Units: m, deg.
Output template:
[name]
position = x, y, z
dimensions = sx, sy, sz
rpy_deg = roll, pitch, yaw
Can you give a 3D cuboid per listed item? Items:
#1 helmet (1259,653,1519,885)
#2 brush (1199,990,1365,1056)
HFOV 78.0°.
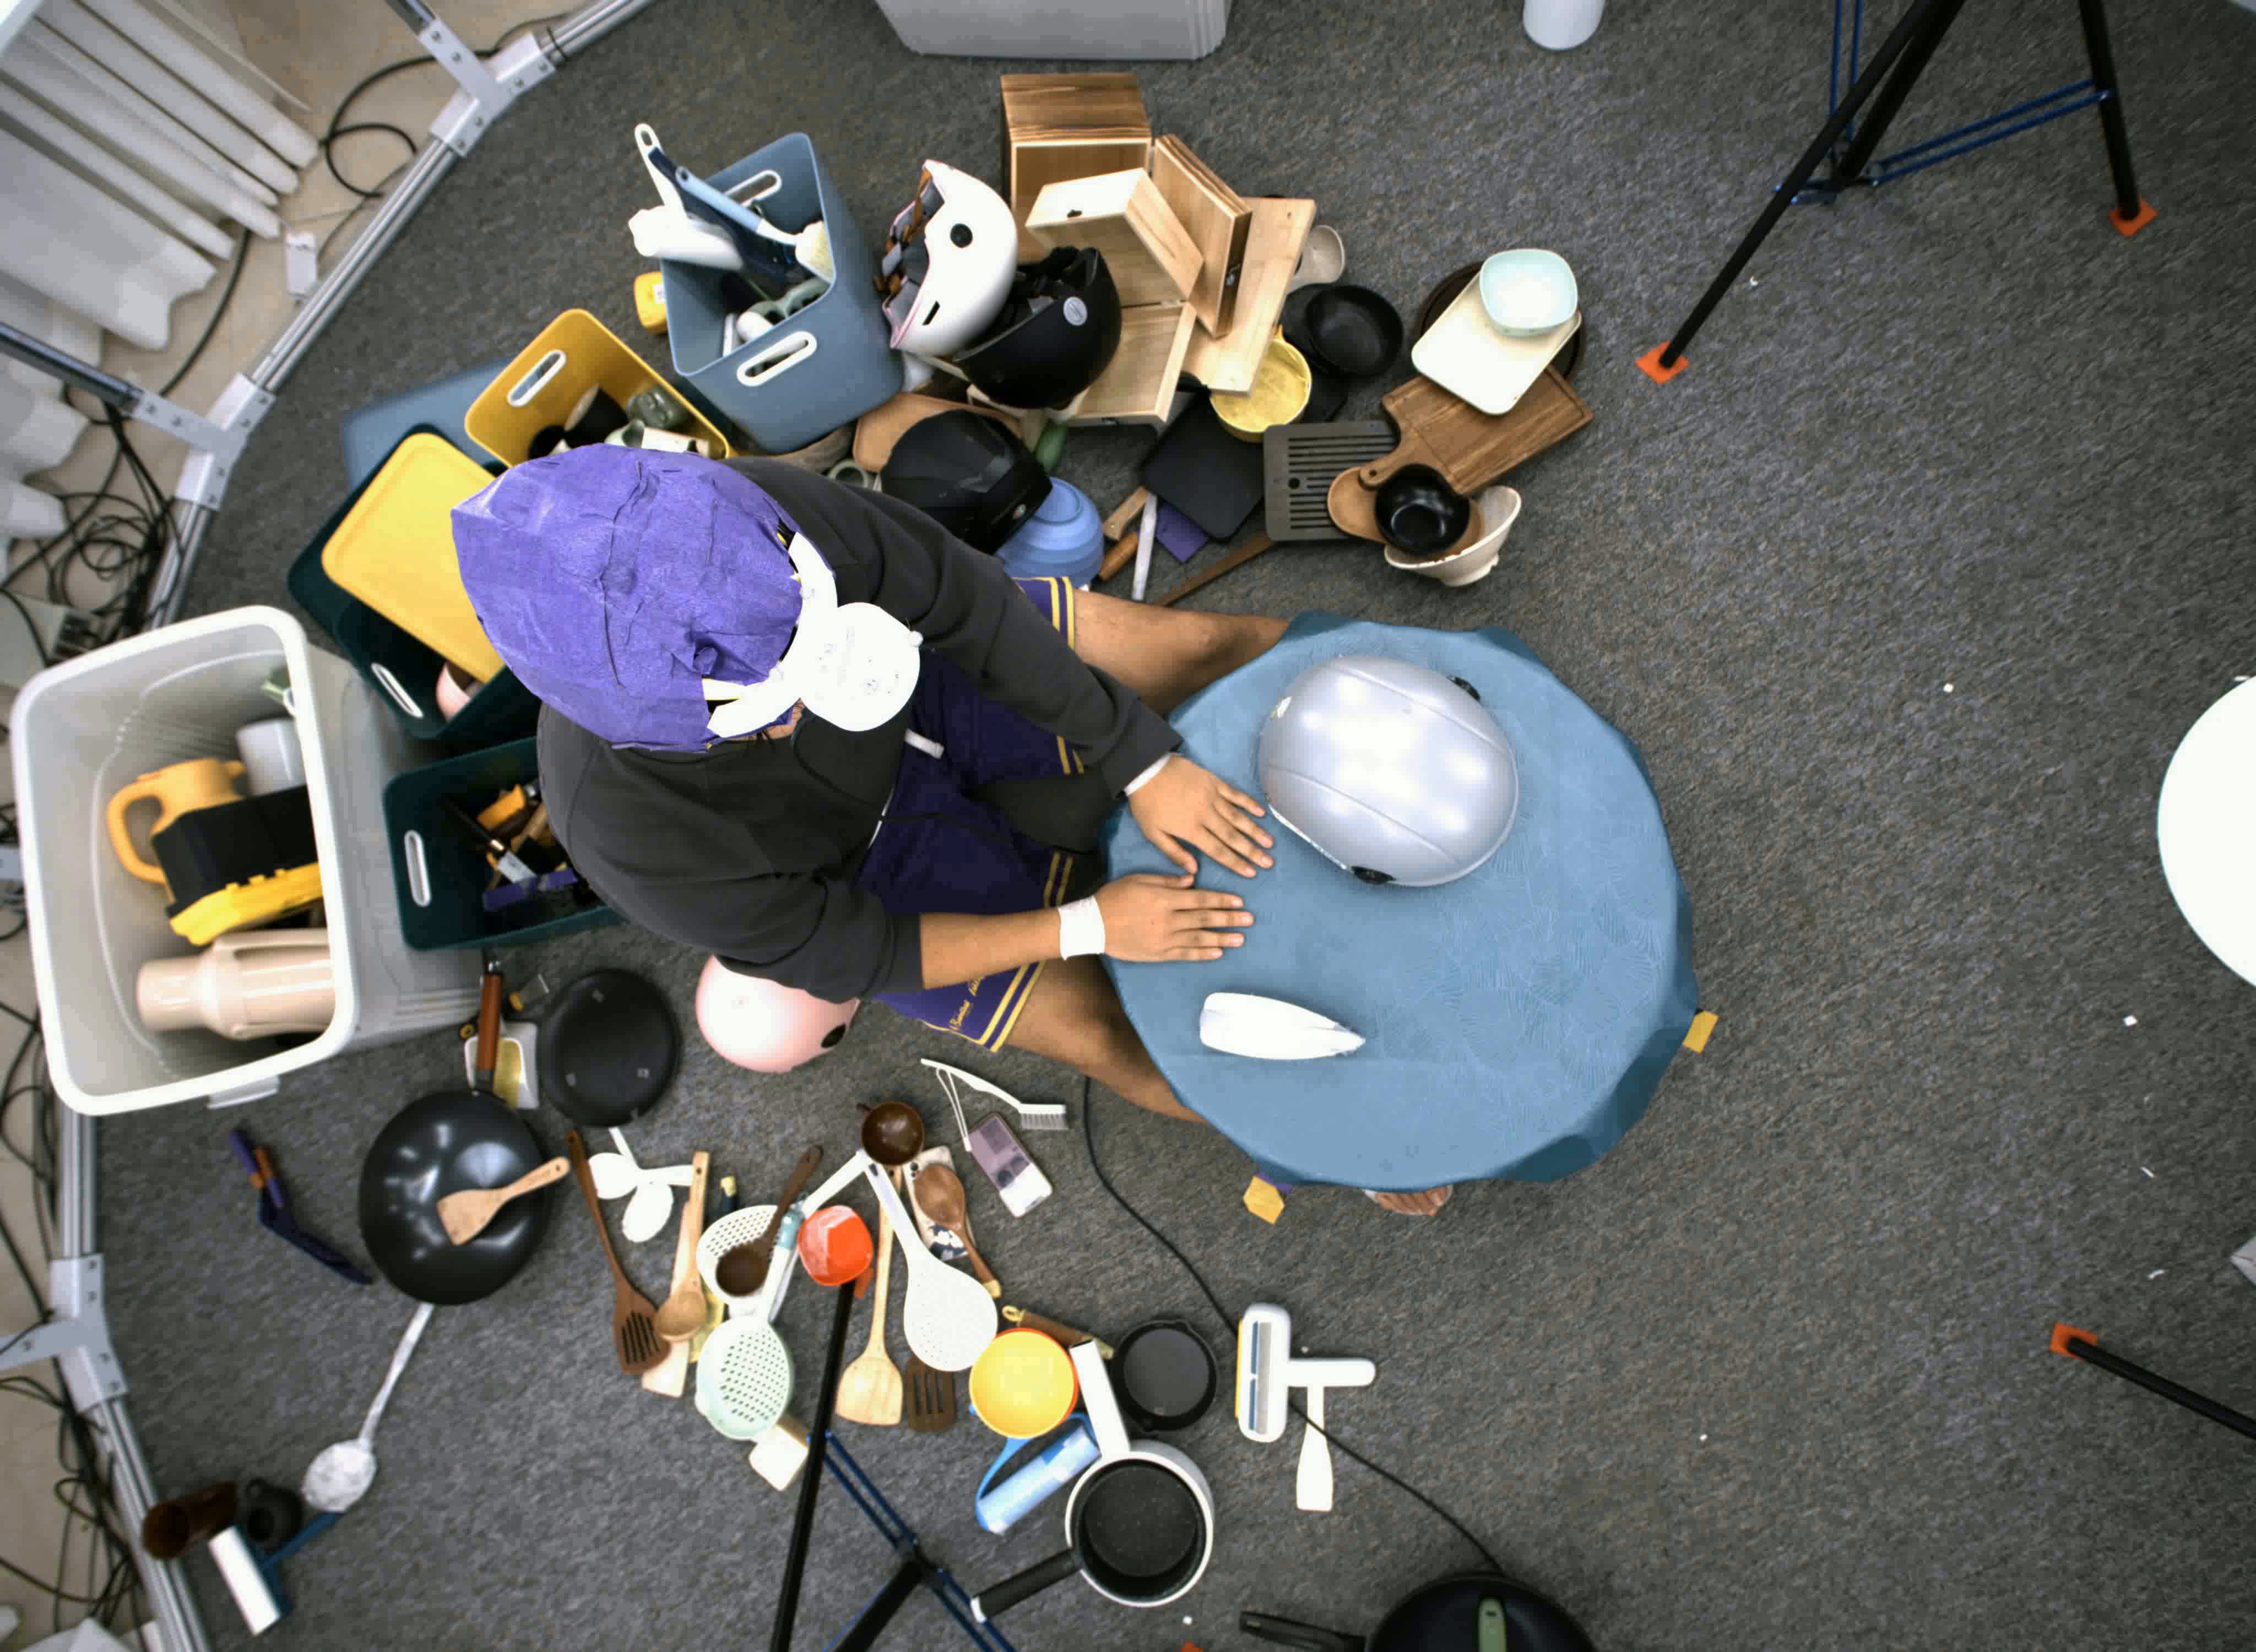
[helmet]
position = 0.267, -0.064, 1.385
dimensions = 0.276, 0.168, 0.232
rpy_deg = 27, 92, 9
[brush]
position = 0.157, 0.207, 1.427
dimensions = 0.176, 0.094, 0.061
rpy_deg = 8, 87, 8
